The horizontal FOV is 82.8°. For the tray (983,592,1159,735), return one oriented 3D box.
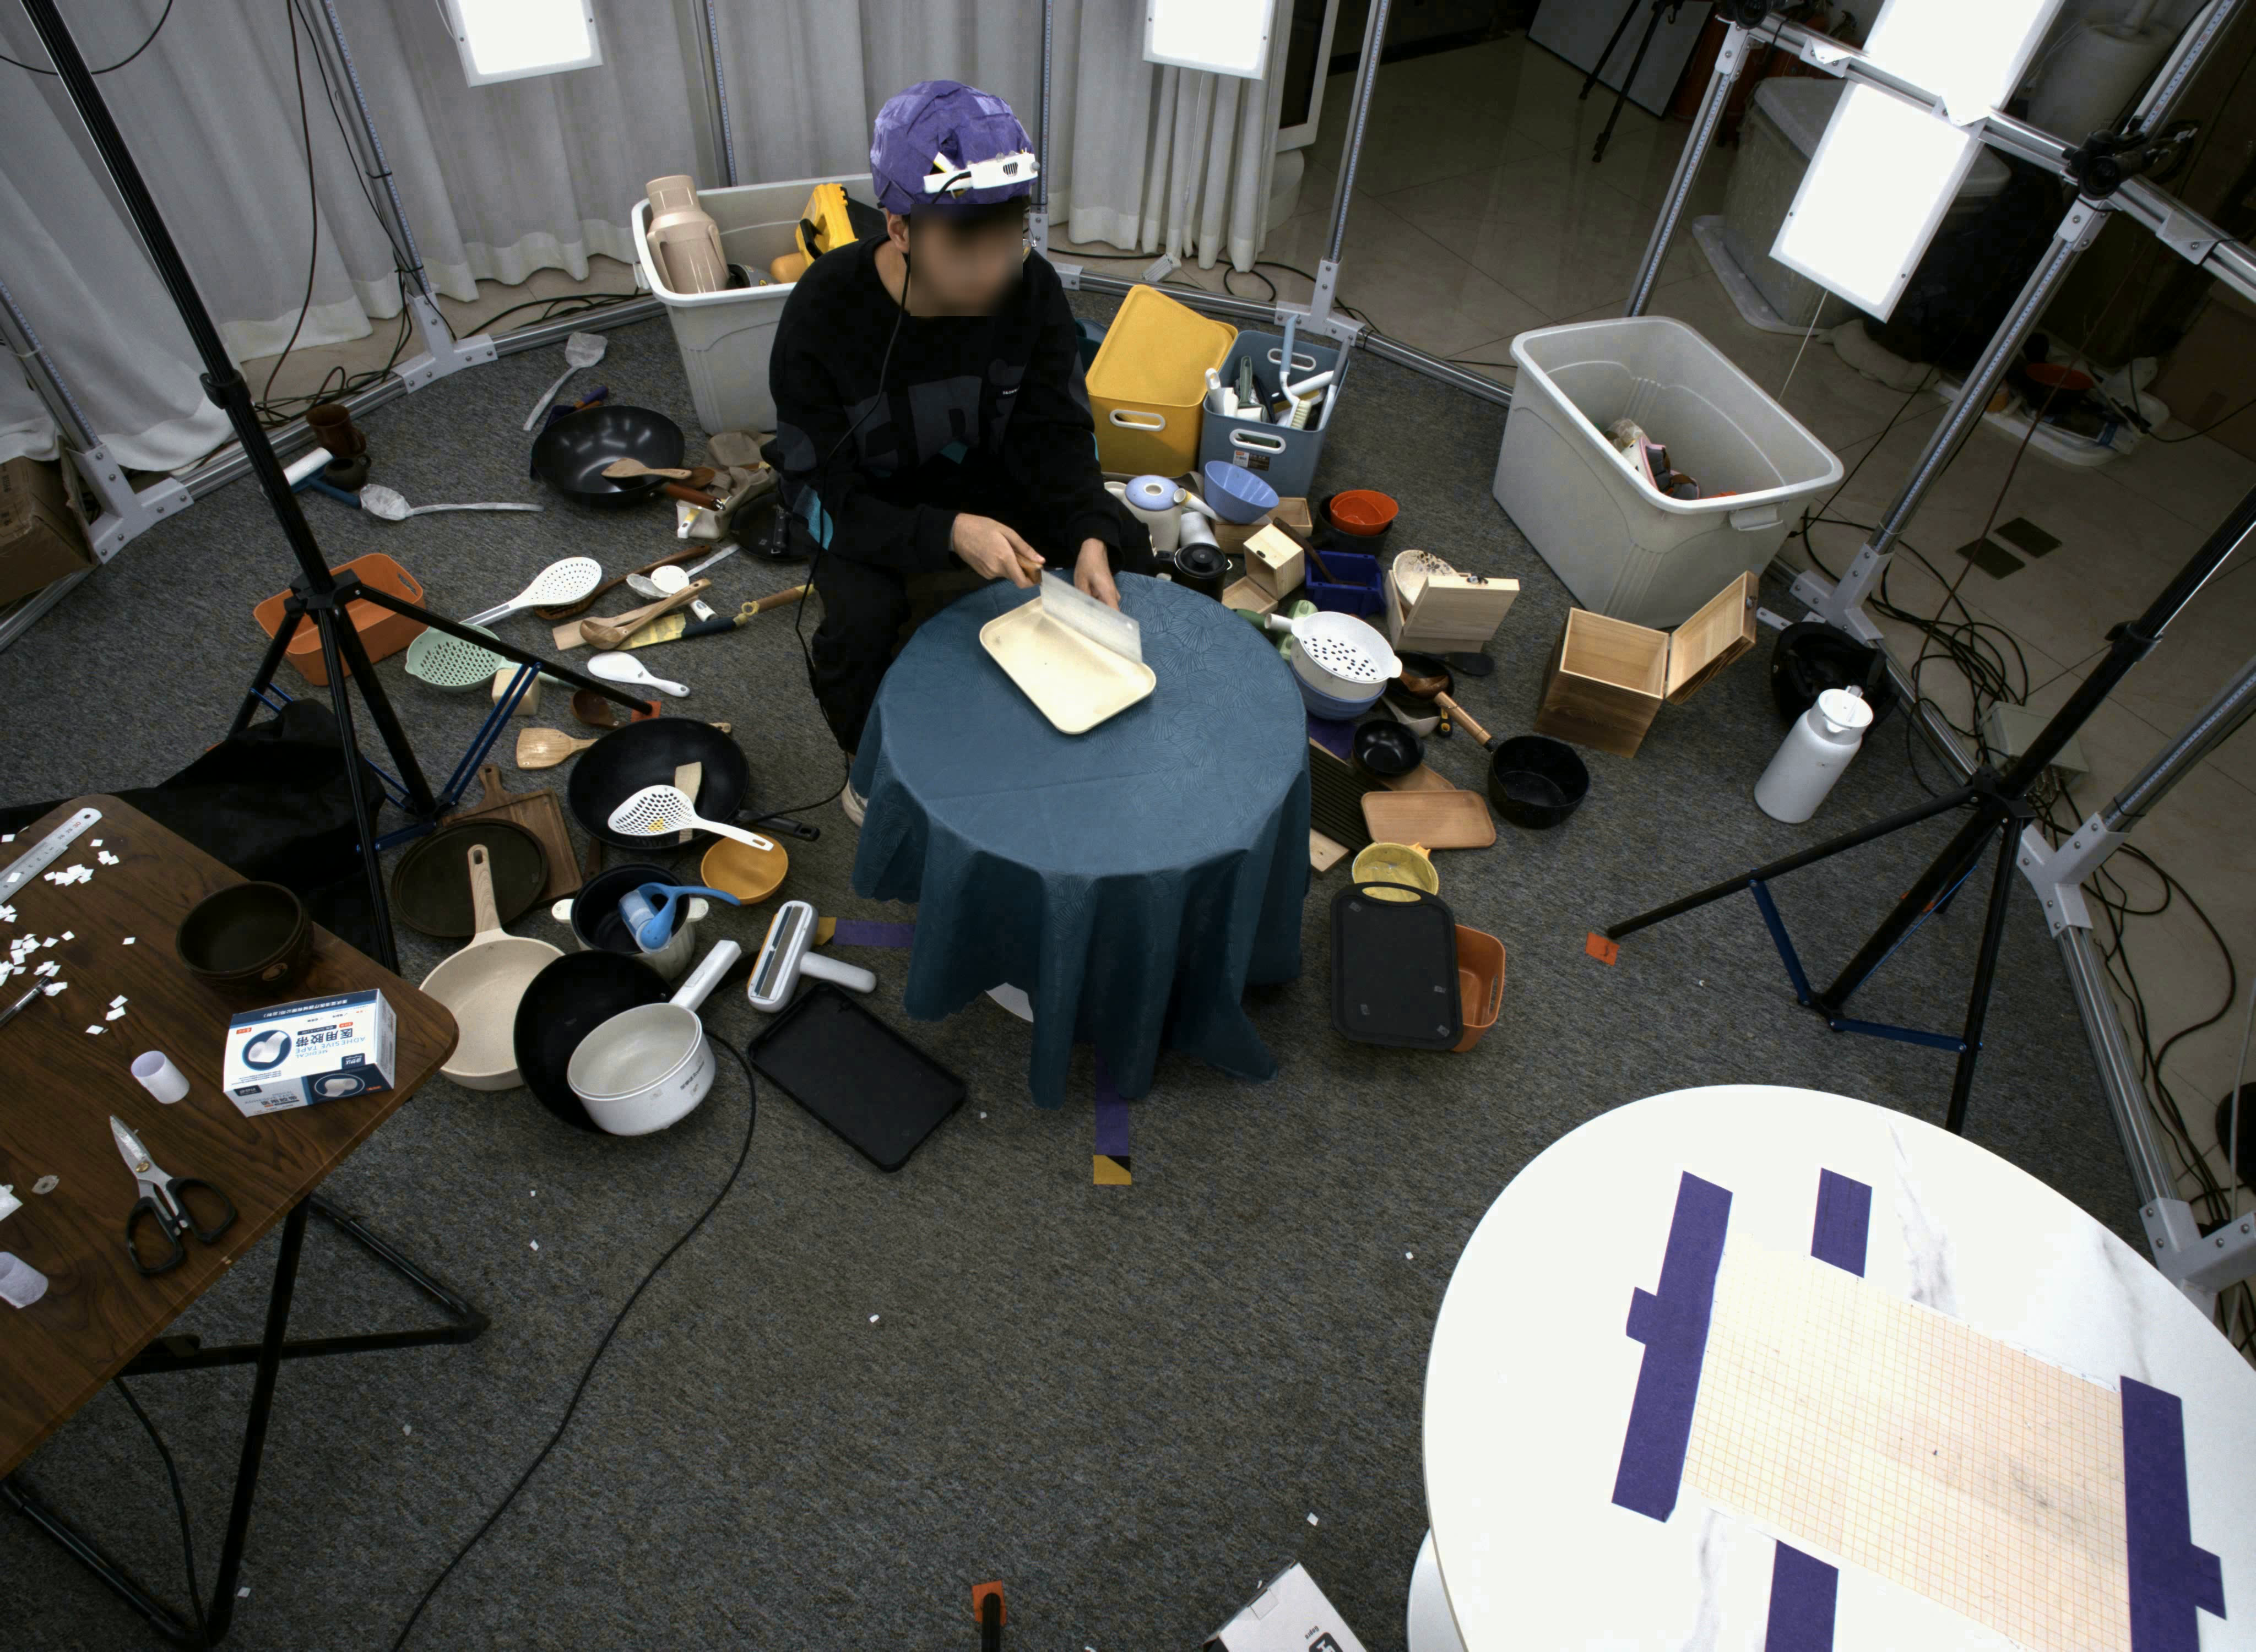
[{"bbox_3d":[-0.083,-0.236,1.840,0.172,0.017,0.244,-31,61,-21],"label":"tray"}]

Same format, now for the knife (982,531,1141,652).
[{"bbox_3d":[-0.094,-0.332,1.836,0.311,0.091,0.021,37,78,31],"label":"knife"}]
